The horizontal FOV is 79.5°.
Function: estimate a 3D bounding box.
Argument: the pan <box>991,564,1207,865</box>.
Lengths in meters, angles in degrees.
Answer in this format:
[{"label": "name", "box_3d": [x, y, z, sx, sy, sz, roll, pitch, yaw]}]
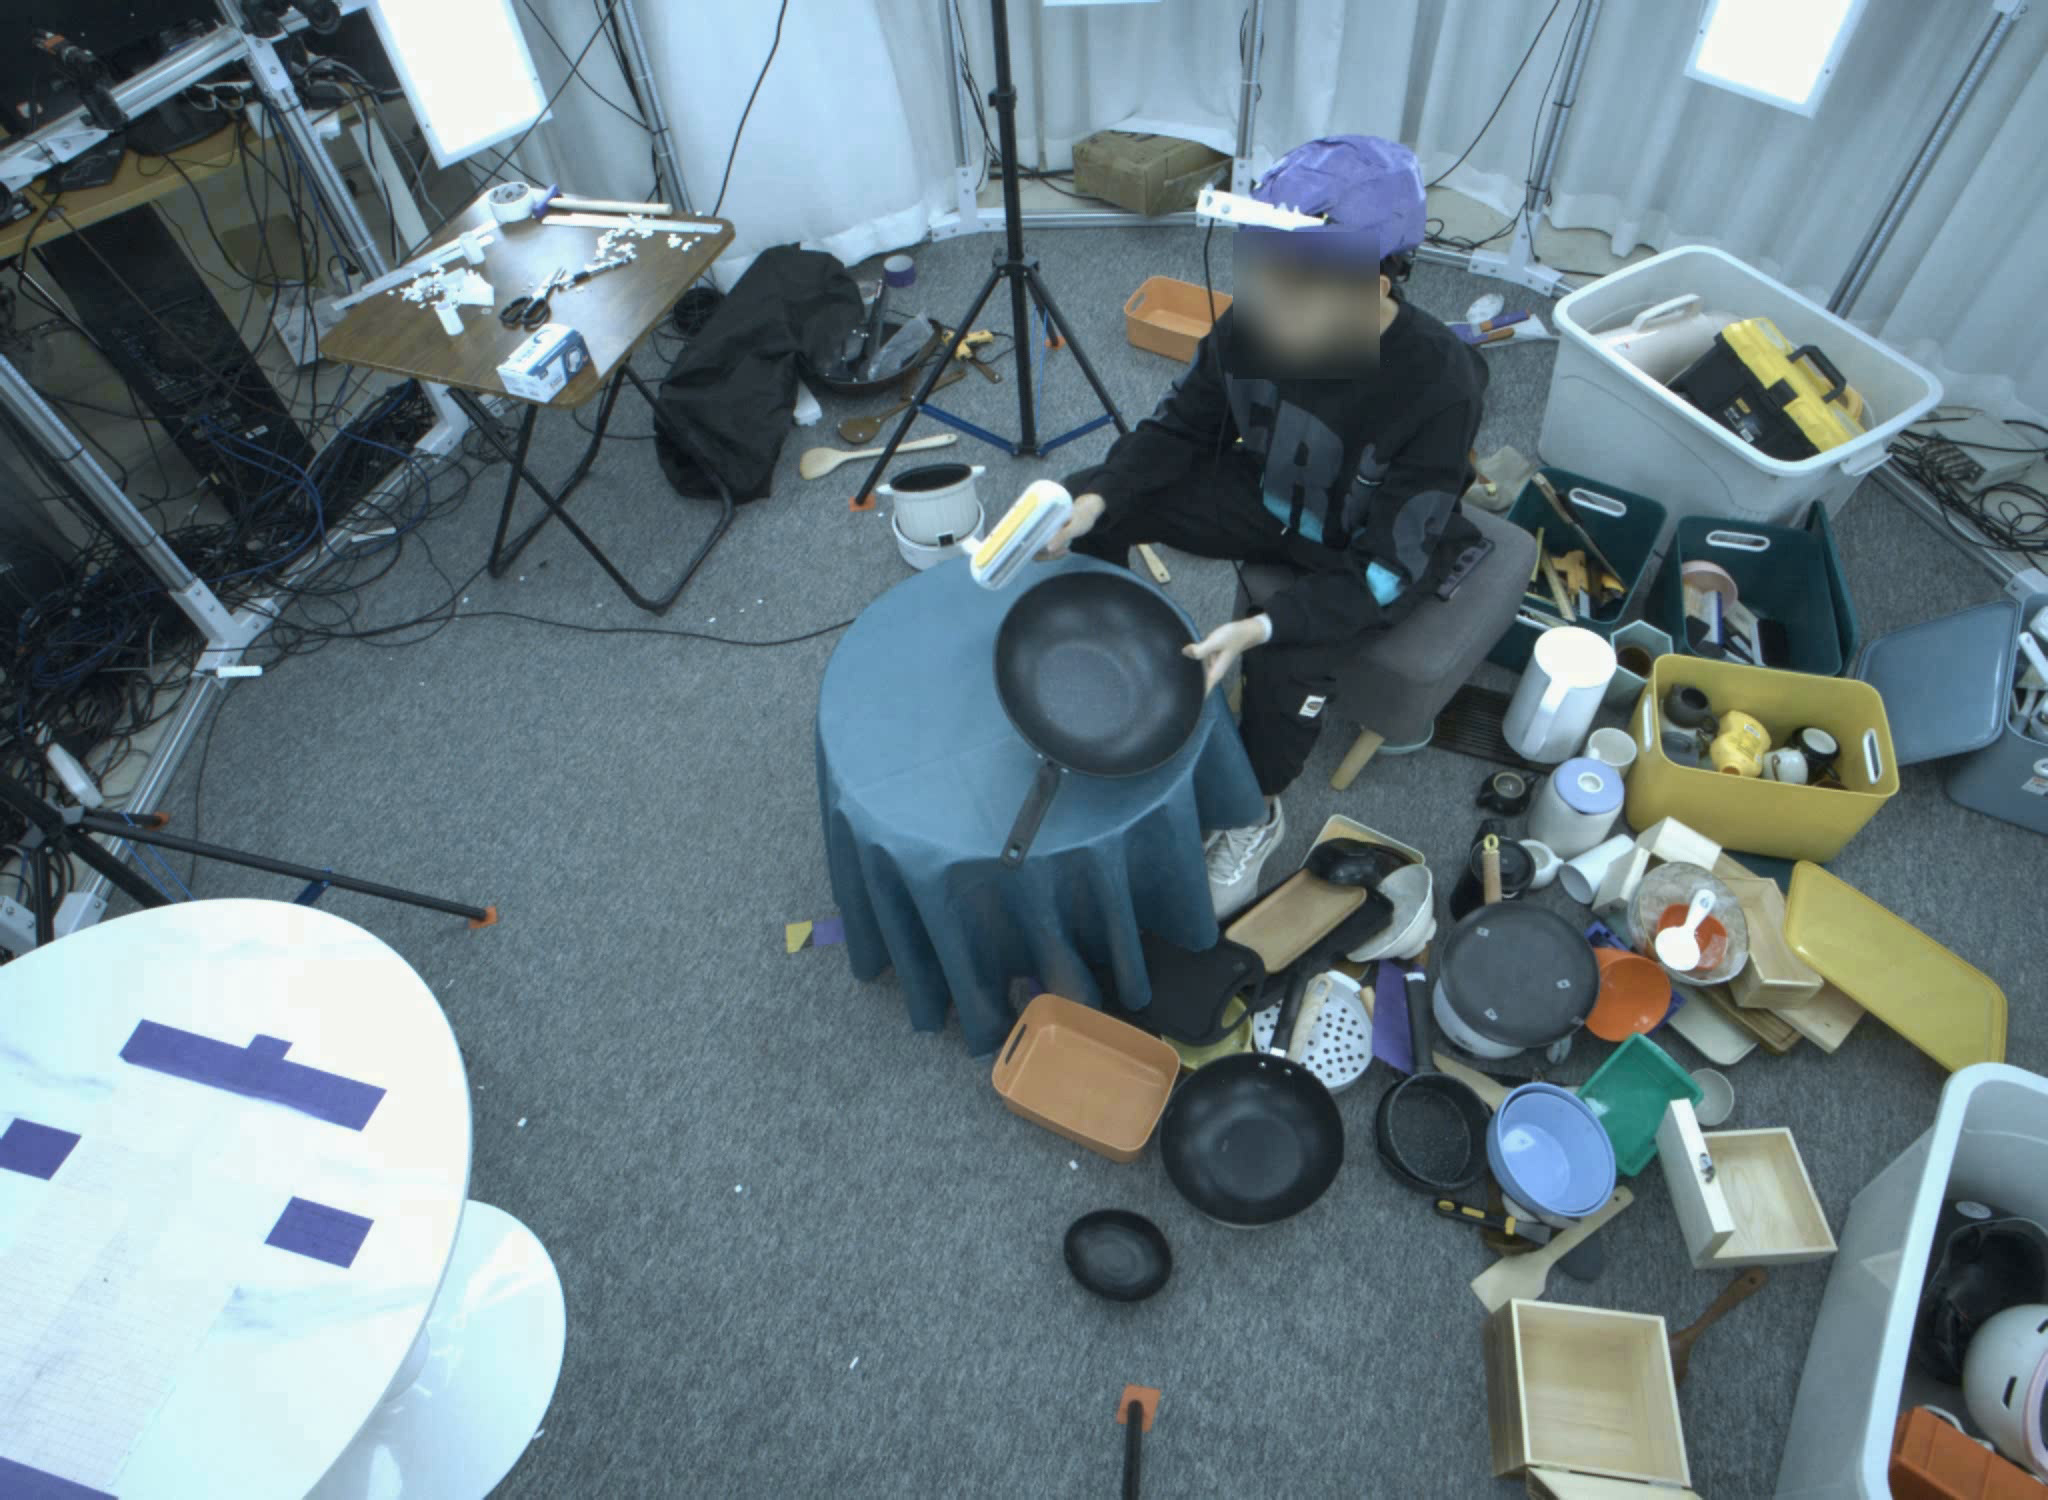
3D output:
[{"label": "pan", "box_3d": [0.064, -0.038, 1.681, 0.312, 0.111, 0.477, 29, 67, -6]}]

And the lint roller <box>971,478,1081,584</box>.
[{"label": "lint roller", "box_3d": [0.025, -0.324, 1.871, 0.192, 0.196, 0.073, -45, 65, 18]}]
